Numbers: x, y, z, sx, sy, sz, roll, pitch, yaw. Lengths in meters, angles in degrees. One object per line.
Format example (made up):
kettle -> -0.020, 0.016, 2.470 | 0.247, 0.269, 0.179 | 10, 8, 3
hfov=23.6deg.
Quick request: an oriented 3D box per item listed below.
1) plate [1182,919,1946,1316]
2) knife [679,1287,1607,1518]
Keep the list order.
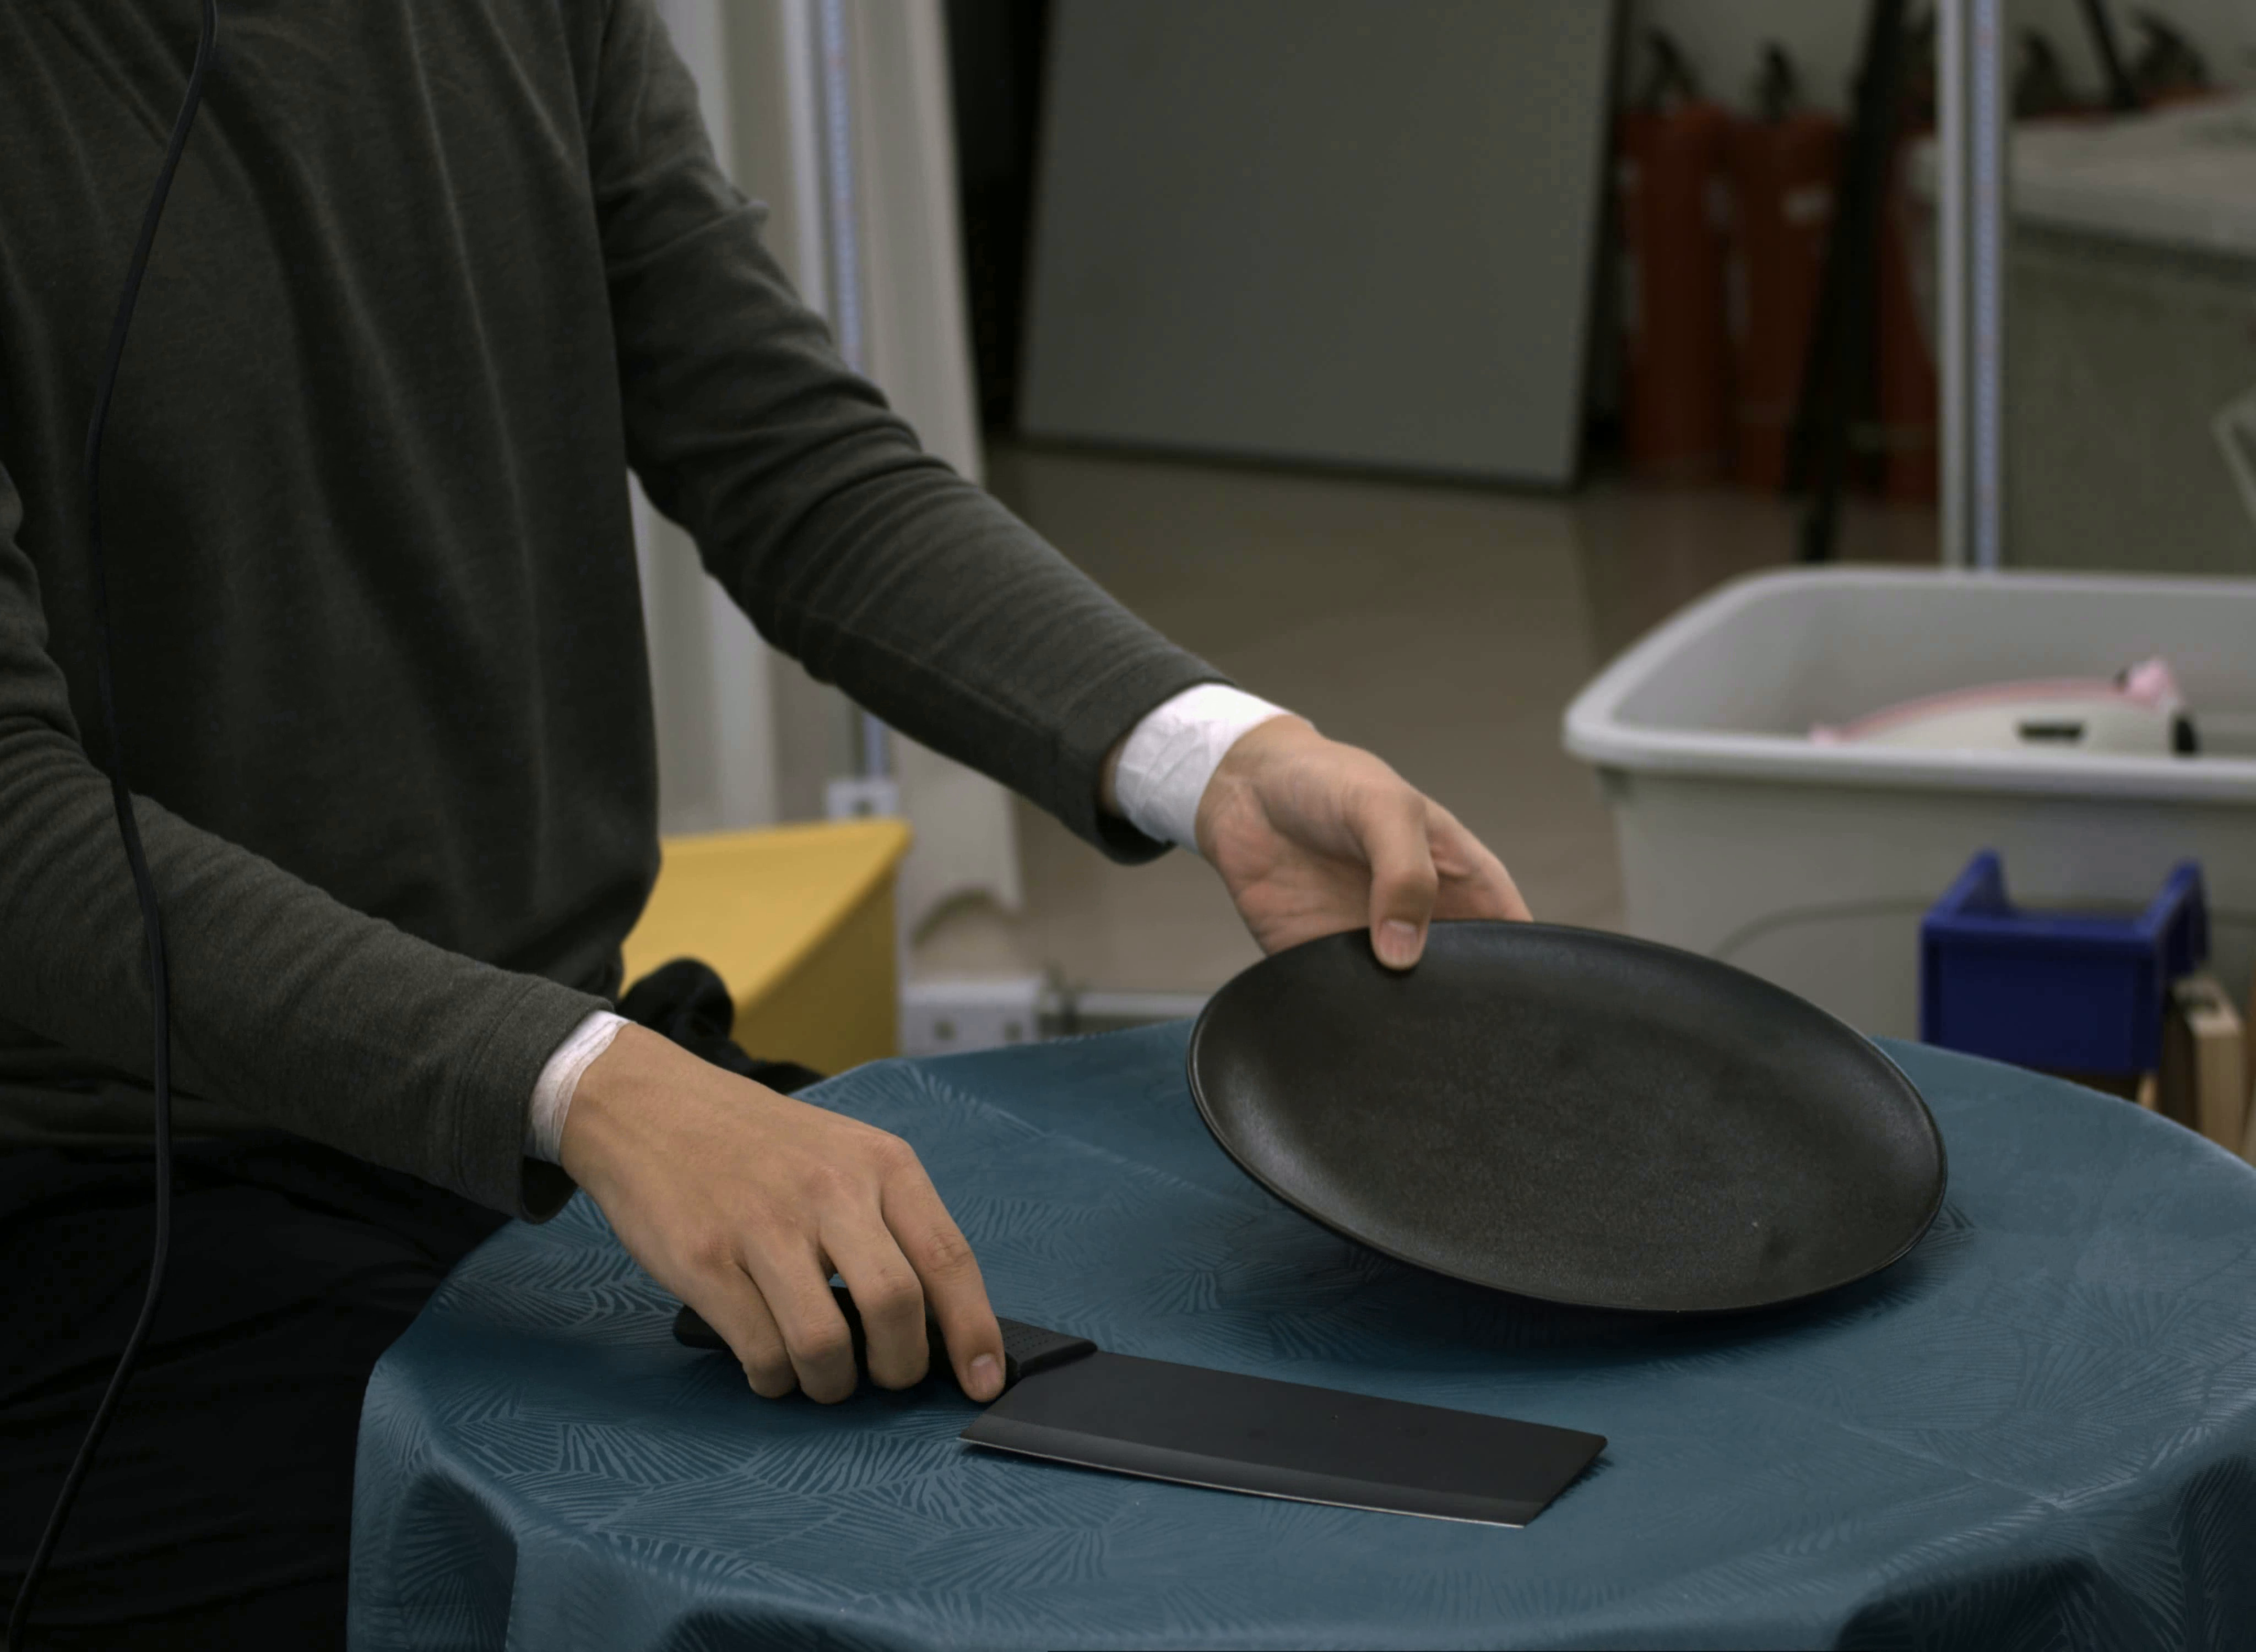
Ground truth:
plate -> 0.136, 0.096, 1.688 | 0.241, 0.023, 0.245 | 5, 26, -3
knife -> -0.005, 0.167, 1.560 | 0.304, 0.021, 0.079 | 7, 21, 35
